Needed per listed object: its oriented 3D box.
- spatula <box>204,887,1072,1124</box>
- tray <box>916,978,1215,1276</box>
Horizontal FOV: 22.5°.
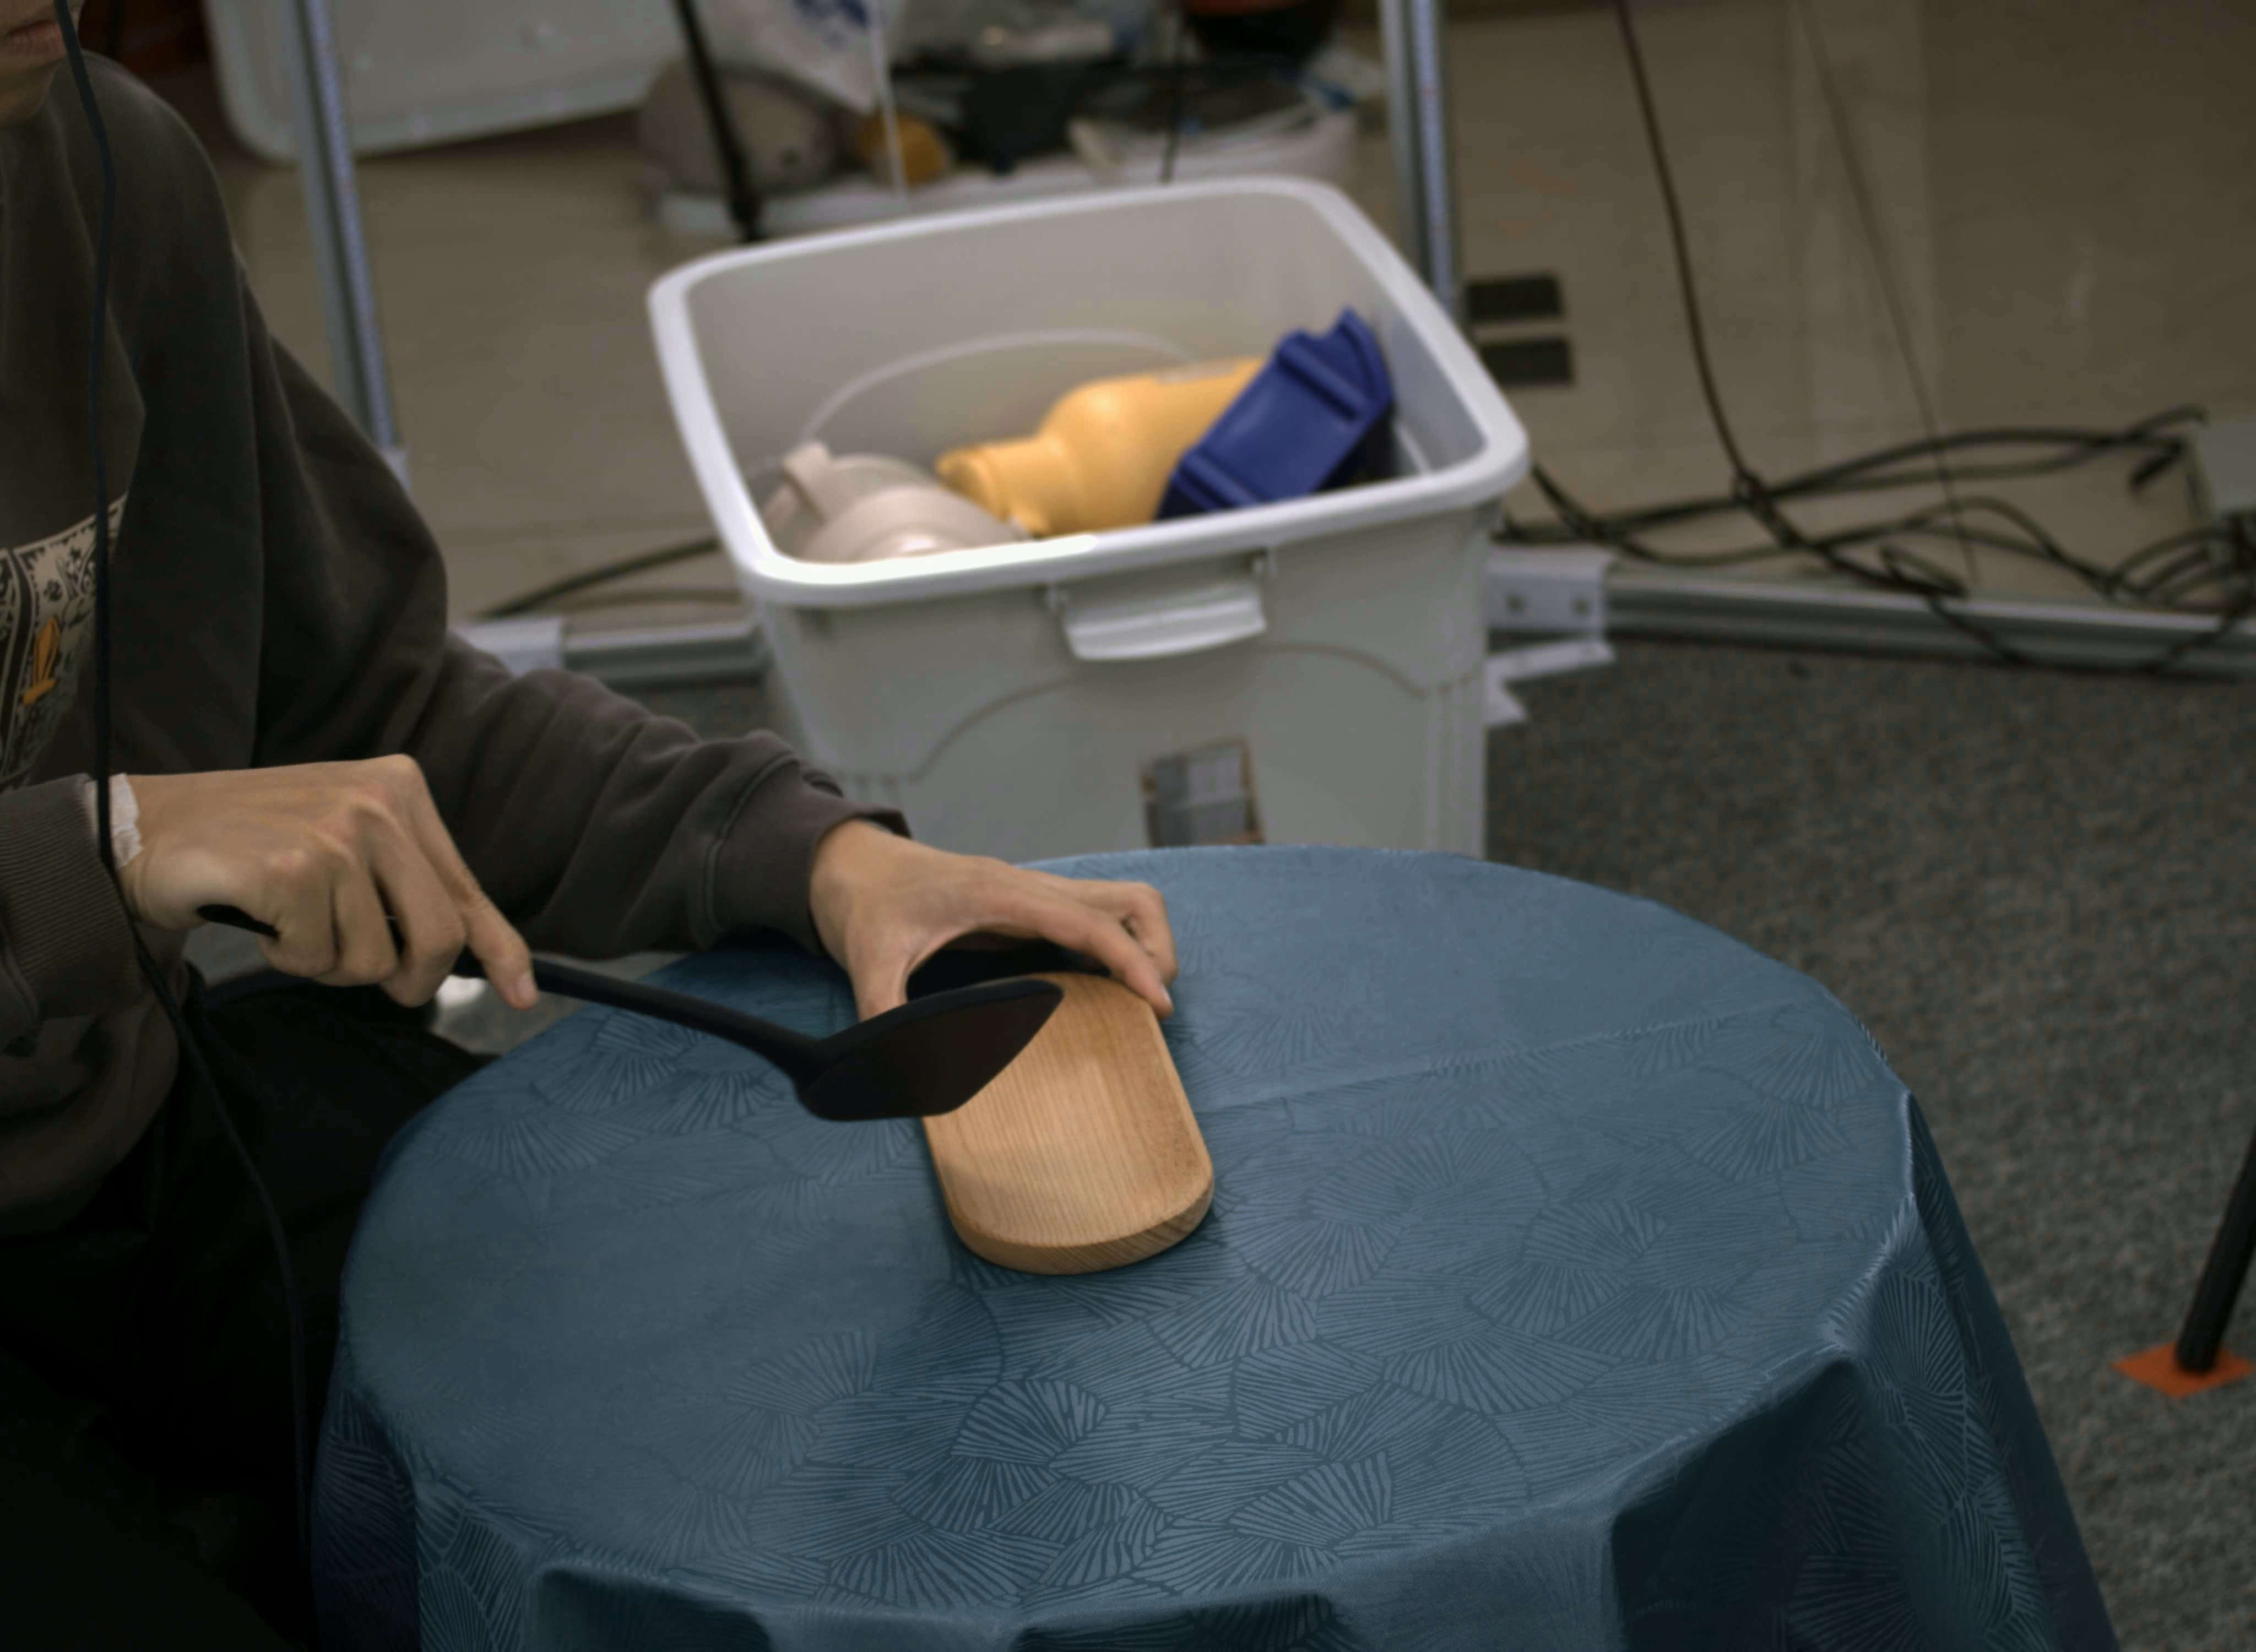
[{"bbox_3d":[-0.179,0.055,2.045,0.327,0.101,0.039,16,48,-24],"label":"spatula"},{"bbox_3d":[-0.028,0.114,2.188,0.101,0.020,0.228,-10,26,-6],"label":"tray"}]
